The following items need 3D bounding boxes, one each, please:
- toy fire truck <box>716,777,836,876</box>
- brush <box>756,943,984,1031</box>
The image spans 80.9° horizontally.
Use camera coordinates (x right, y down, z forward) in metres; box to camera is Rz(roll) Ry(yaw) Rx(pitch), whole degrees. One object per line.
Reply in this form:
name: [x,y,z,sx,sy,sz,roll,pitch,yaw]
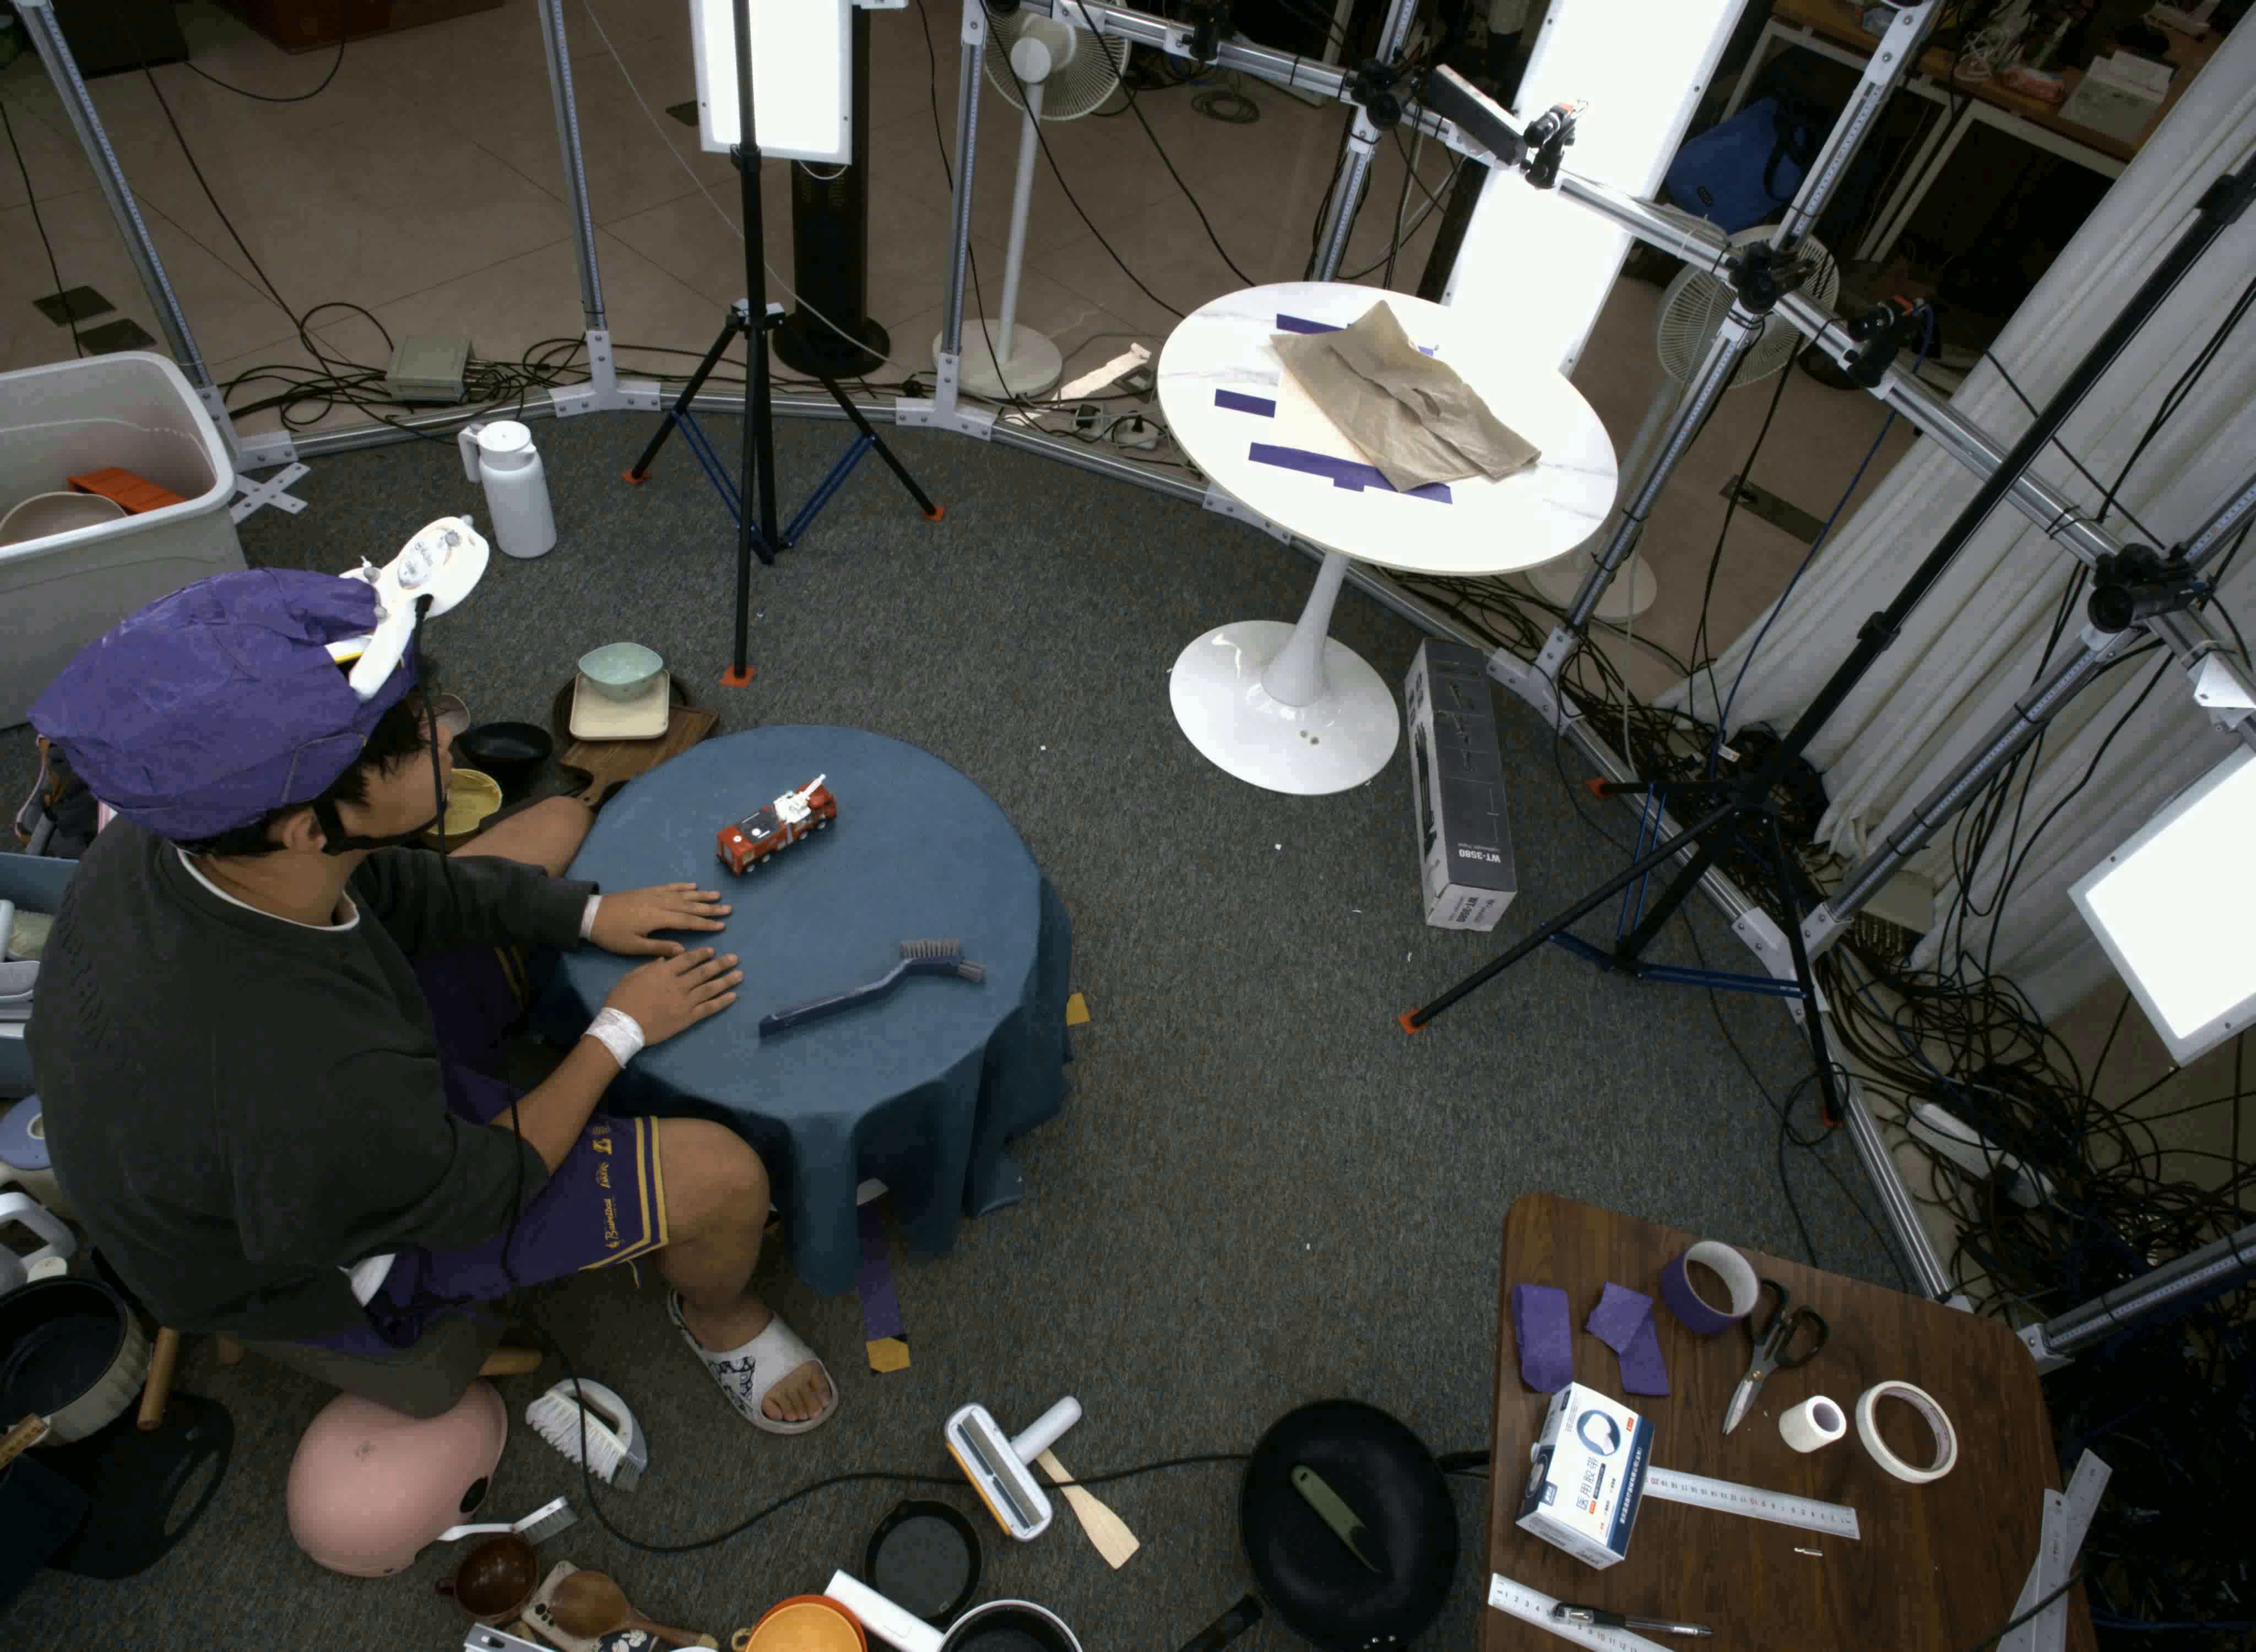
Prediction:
toy fire truck: [-0.456,-0.002,1.684,0.053,0.072,0.168,41,55,19]
brush: [-0.314,0.205,1.584,0.274,0.034,0.093,-24,64,-29]
